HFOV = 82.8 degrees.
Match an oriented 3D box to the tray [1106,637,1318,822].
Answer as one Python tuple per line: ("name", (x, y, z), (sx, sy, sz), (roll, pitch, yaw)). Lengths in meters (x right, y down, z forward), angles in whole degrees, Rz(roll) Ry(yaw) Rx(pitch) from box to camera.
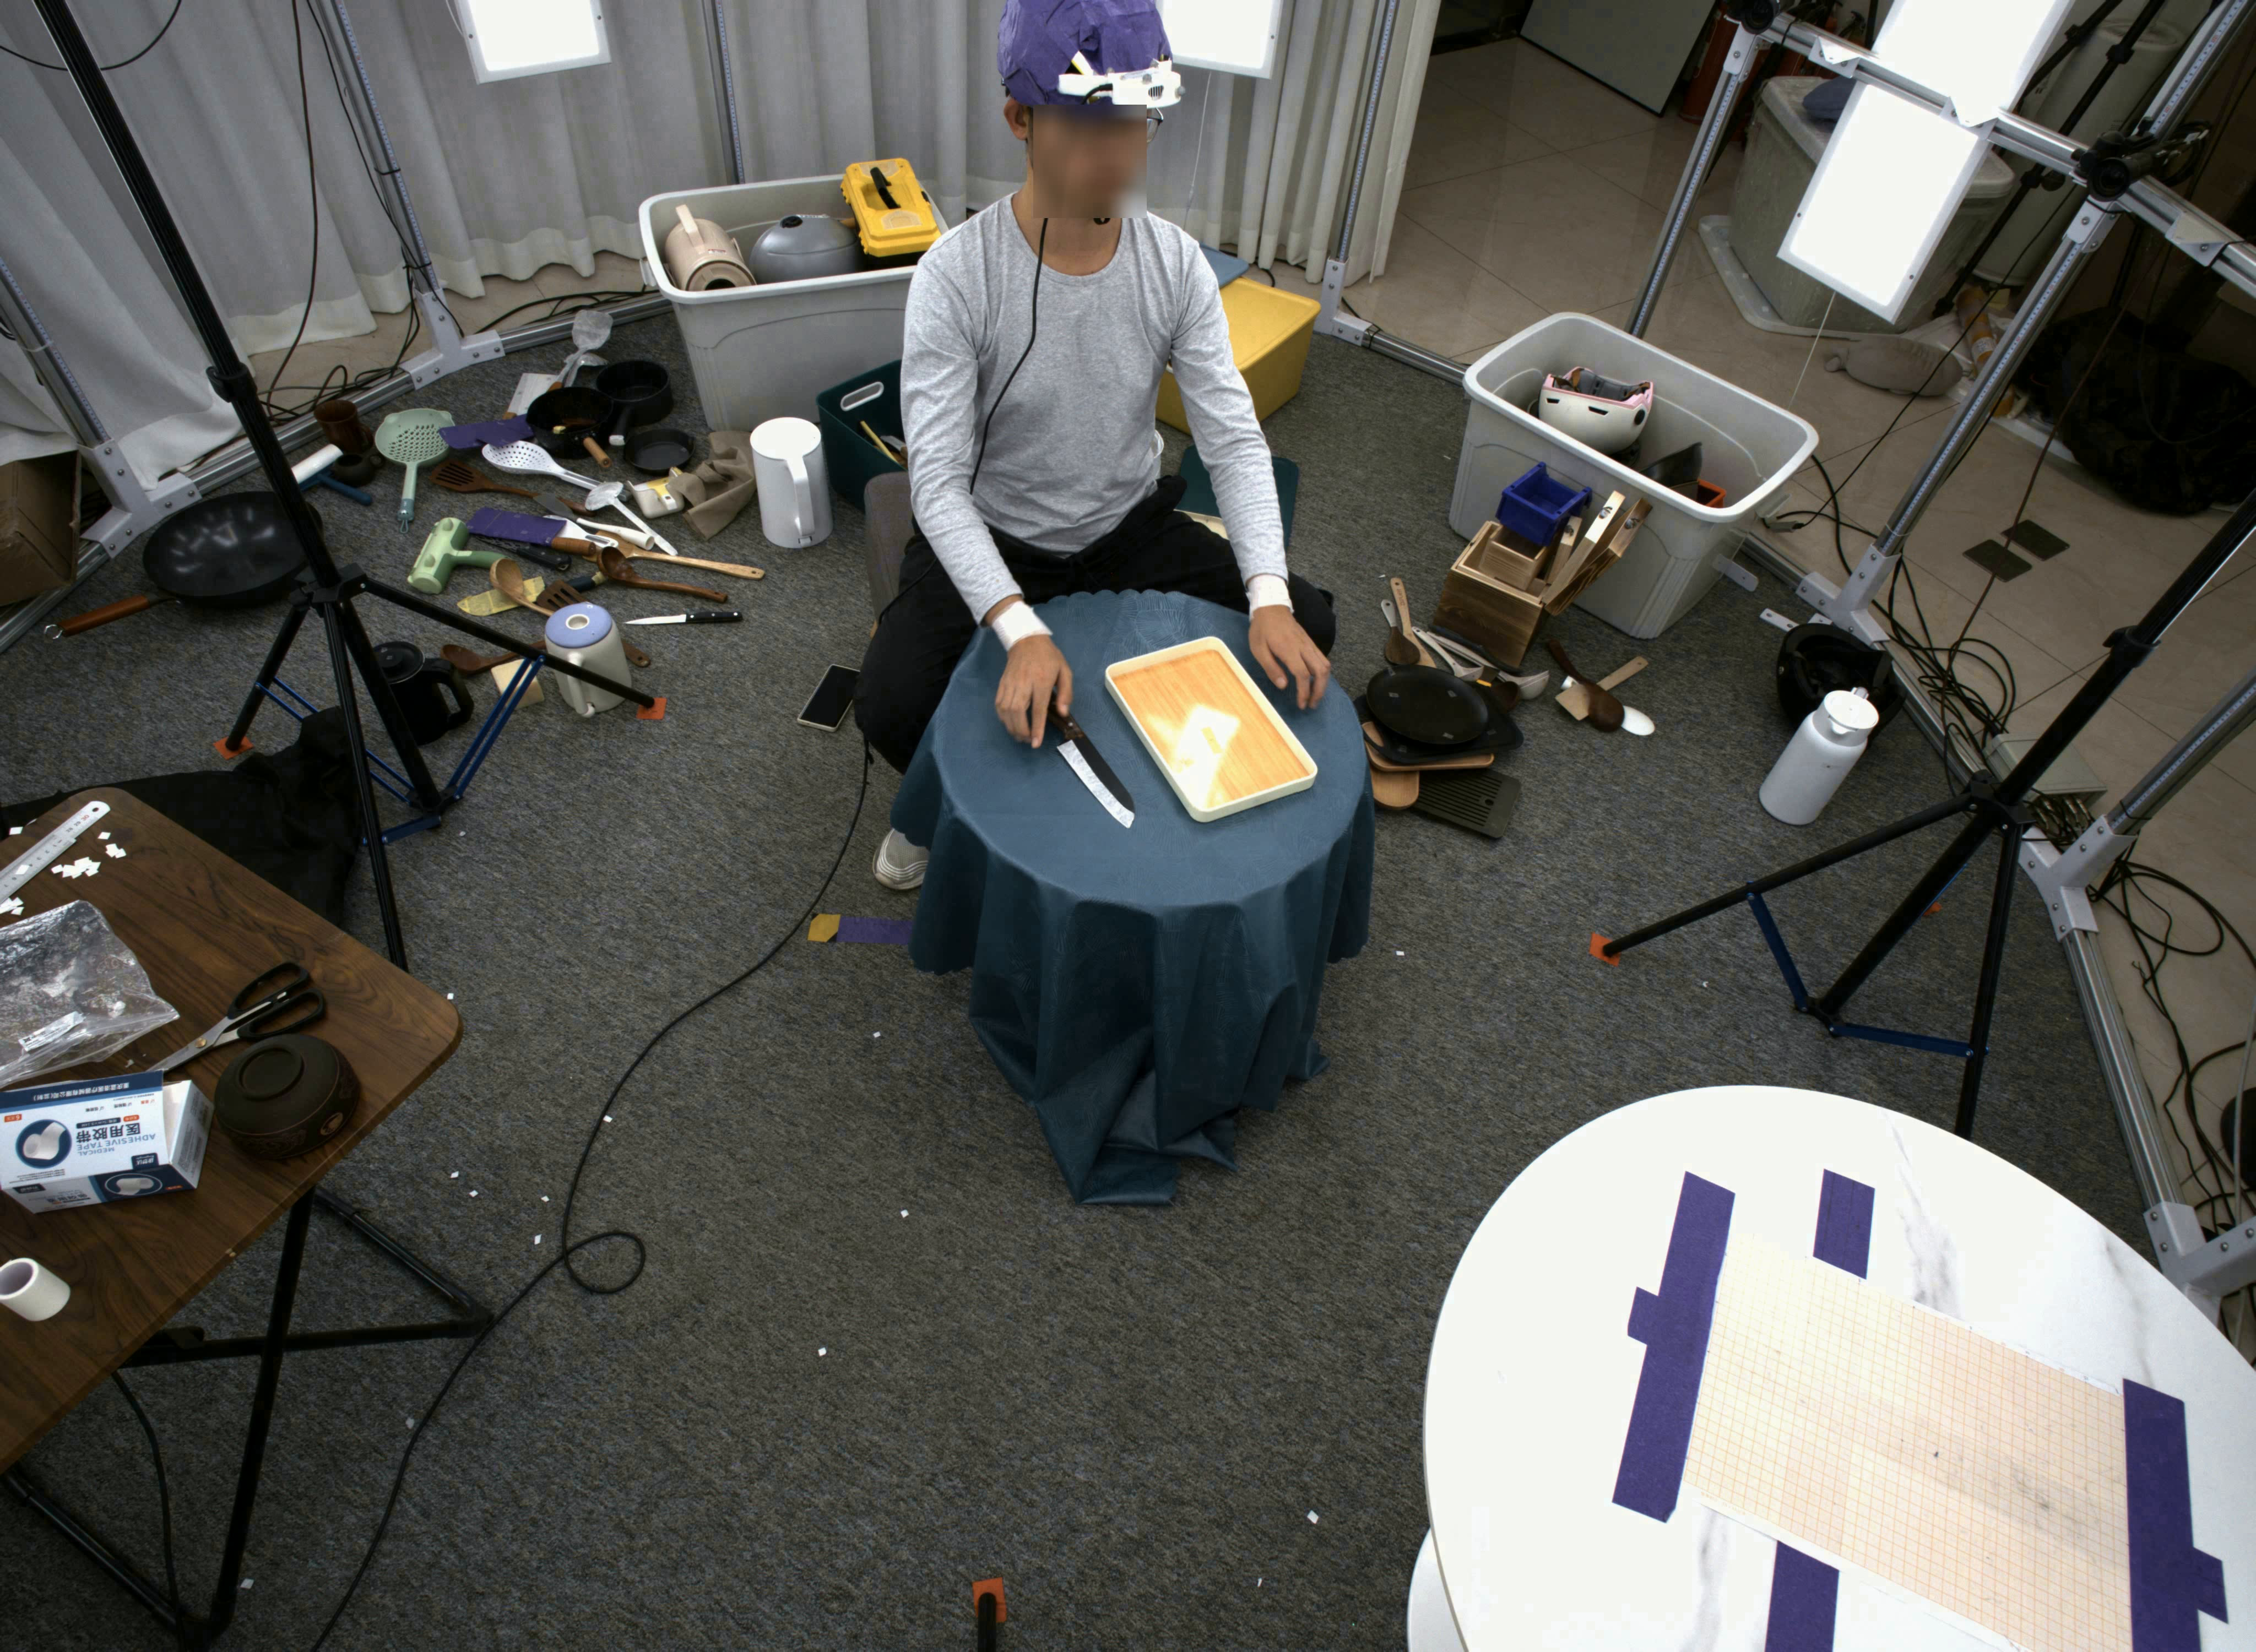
("tray", (0.111, -0.141, 1.780), (0.192, 0.027, 0.307), (-18, 52, -18))

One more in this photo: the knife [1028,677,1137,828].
("knife", (-0.064, -0.102, 1.742), (0.050, 0.019, 0.295), (-23, 57, -16))
